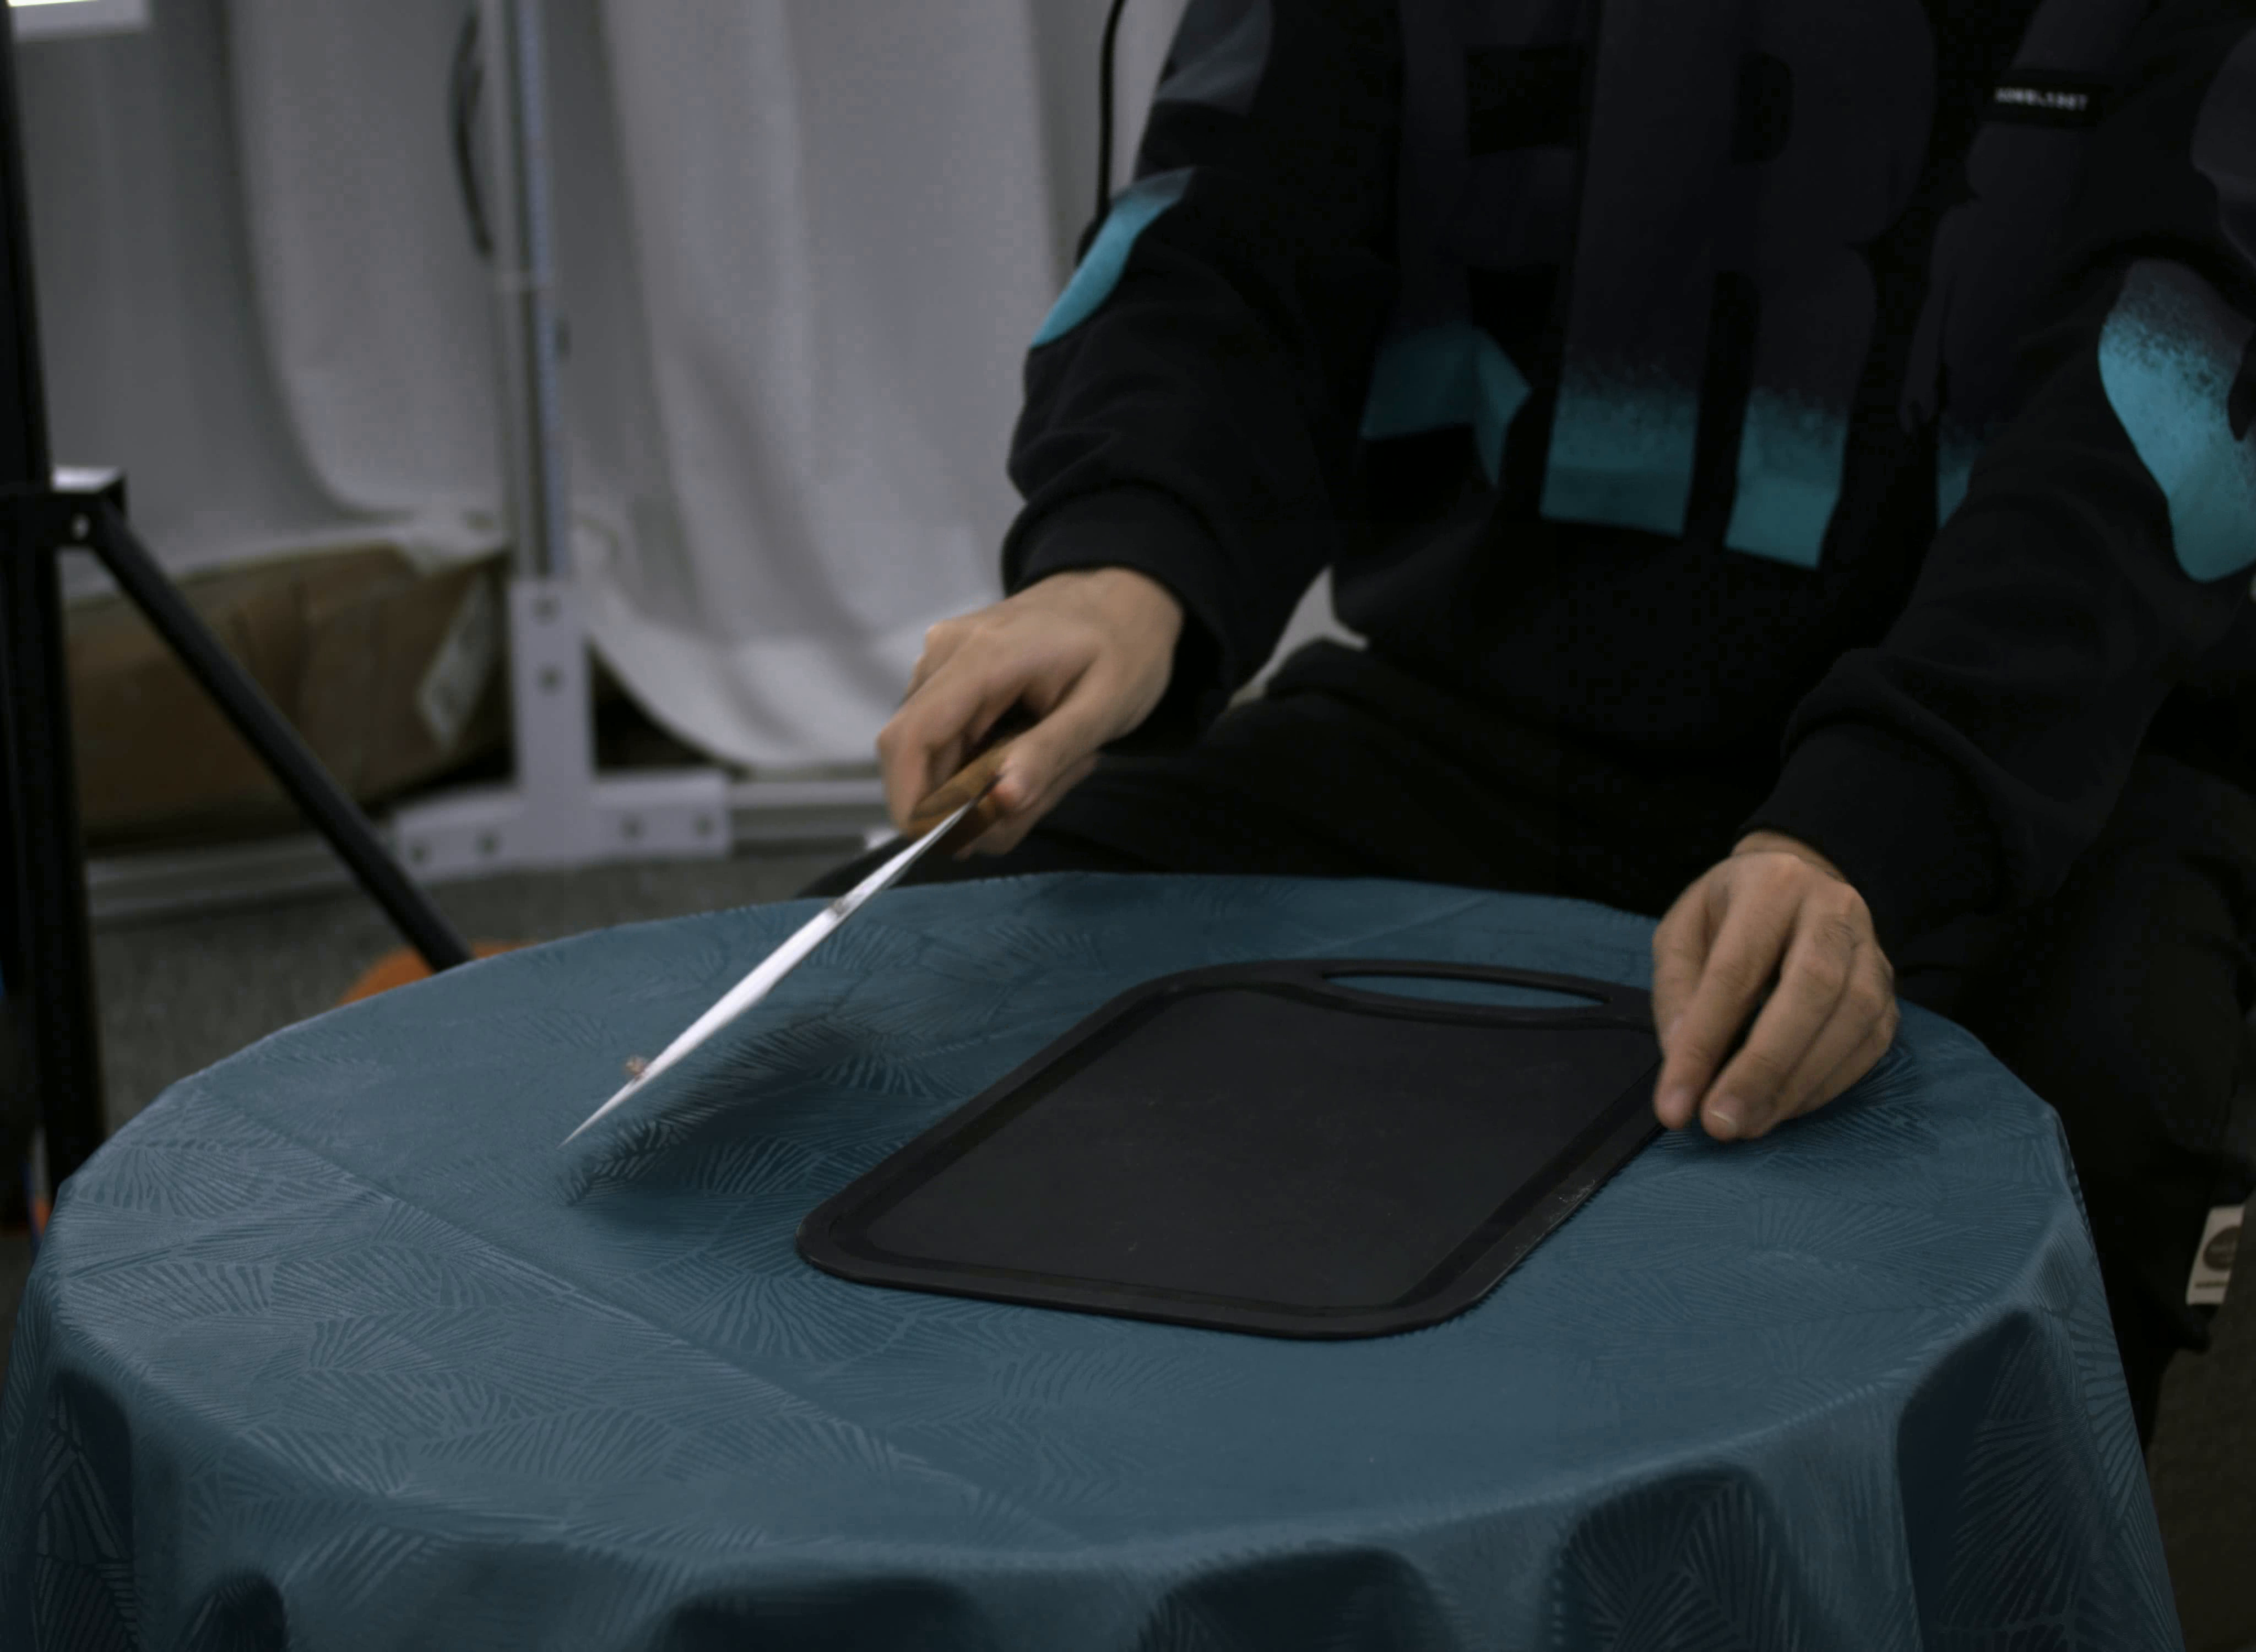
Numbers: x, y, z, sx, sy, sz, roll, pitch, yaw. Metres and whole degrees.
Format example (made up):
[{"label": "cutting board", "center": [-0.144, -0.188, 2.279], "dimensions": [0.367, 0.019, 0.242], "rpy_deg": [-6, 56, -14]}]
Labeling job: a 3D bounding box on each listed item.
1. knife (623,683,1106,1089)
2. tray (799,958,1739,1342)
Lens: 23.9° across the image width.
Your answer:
[{"label": "knife", "center": [-0.083, 0.020, 1.691], "dimensions": [0.094, 0.021, 0.302], "rpy_deg": [-38, 2, 25]}, {"label": "tray", "center": [0.051, 0.089, 1.604], "dimensions": [0.214, 0.010, 0.320], "rpy_deg": [5, 18, 26]}]
